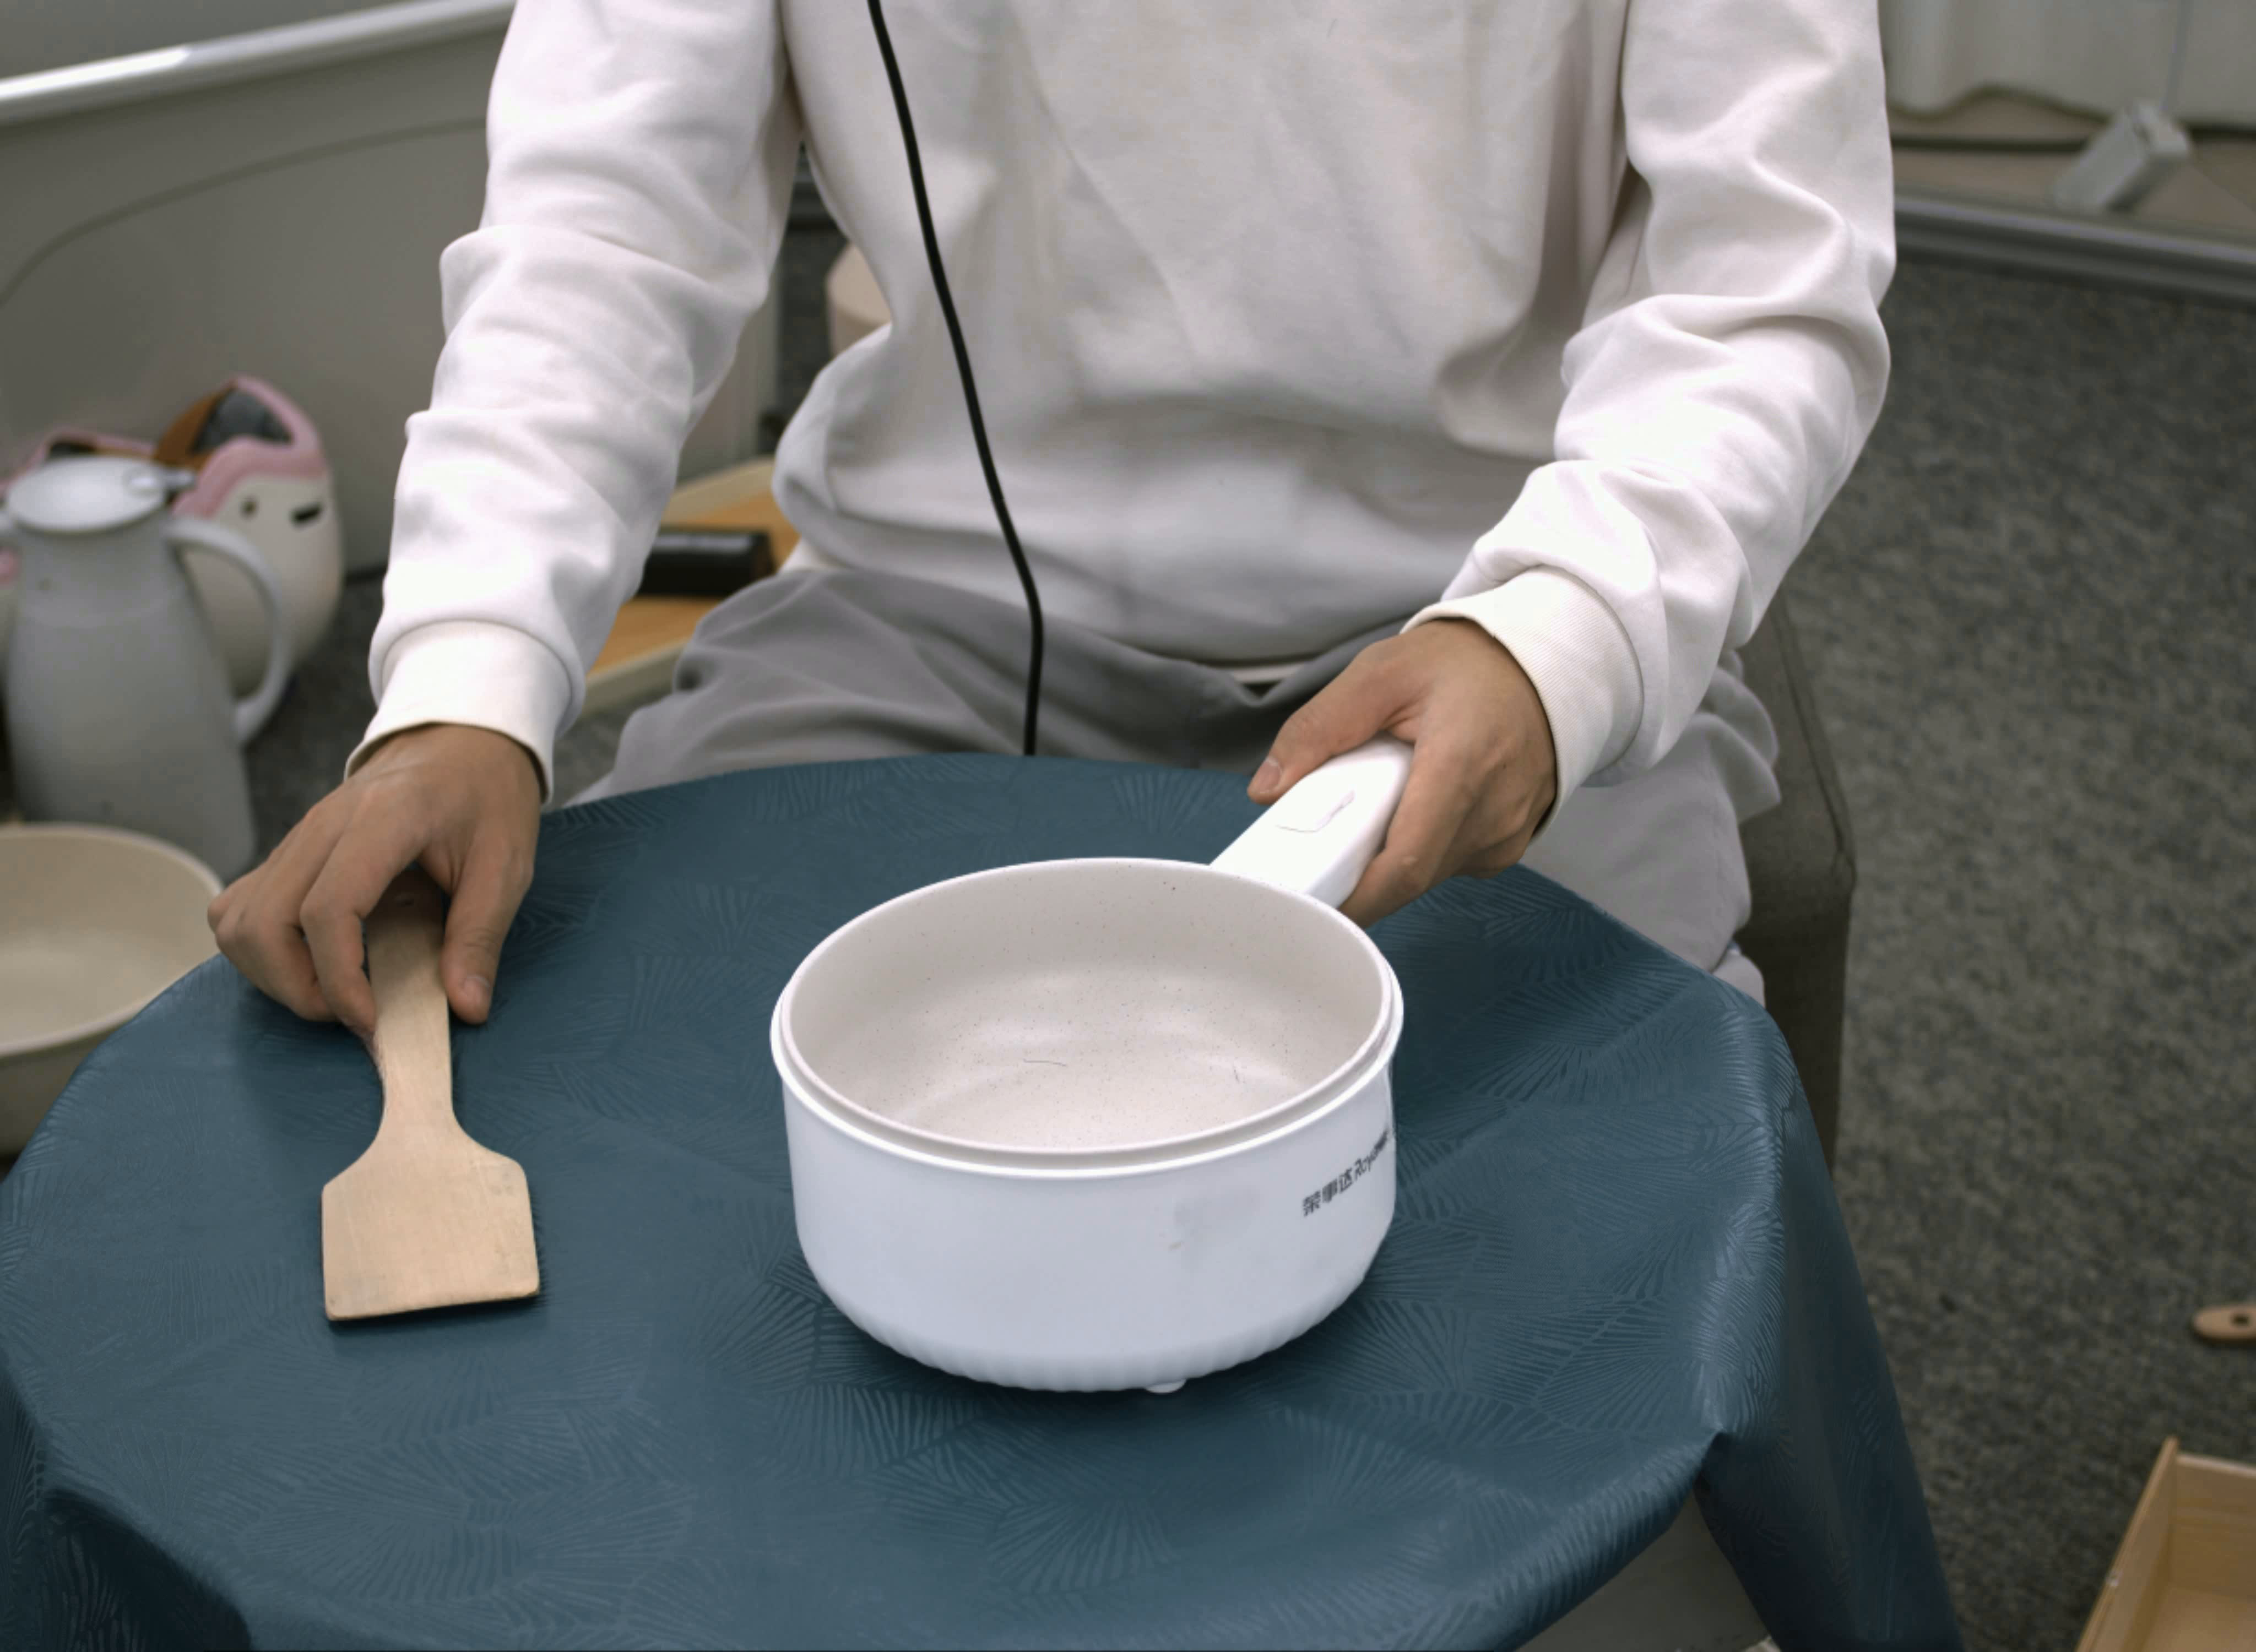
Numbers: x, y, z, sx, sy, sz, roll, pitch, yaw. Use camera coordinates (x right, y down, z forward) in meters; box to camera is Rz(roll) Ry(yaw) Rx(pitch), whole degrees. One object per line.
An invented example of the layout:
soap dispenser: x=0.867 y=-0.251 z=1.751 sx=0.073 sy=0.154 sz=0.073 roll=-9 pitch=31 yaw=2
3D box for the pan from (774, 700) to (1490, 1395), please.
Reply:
pan: x=0.026 y=0.070 z=1.861 sx=0.200 sy=0.101 sz=0.360 roll=10 pitch=28 yaw=26

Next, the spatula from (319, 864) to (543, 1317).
spatula: x=-0.246 y=0.087 z=1.938 sx=0.072 sy=0.010 sz=0.297 roll=-7 pitch=29 yaw=-6
